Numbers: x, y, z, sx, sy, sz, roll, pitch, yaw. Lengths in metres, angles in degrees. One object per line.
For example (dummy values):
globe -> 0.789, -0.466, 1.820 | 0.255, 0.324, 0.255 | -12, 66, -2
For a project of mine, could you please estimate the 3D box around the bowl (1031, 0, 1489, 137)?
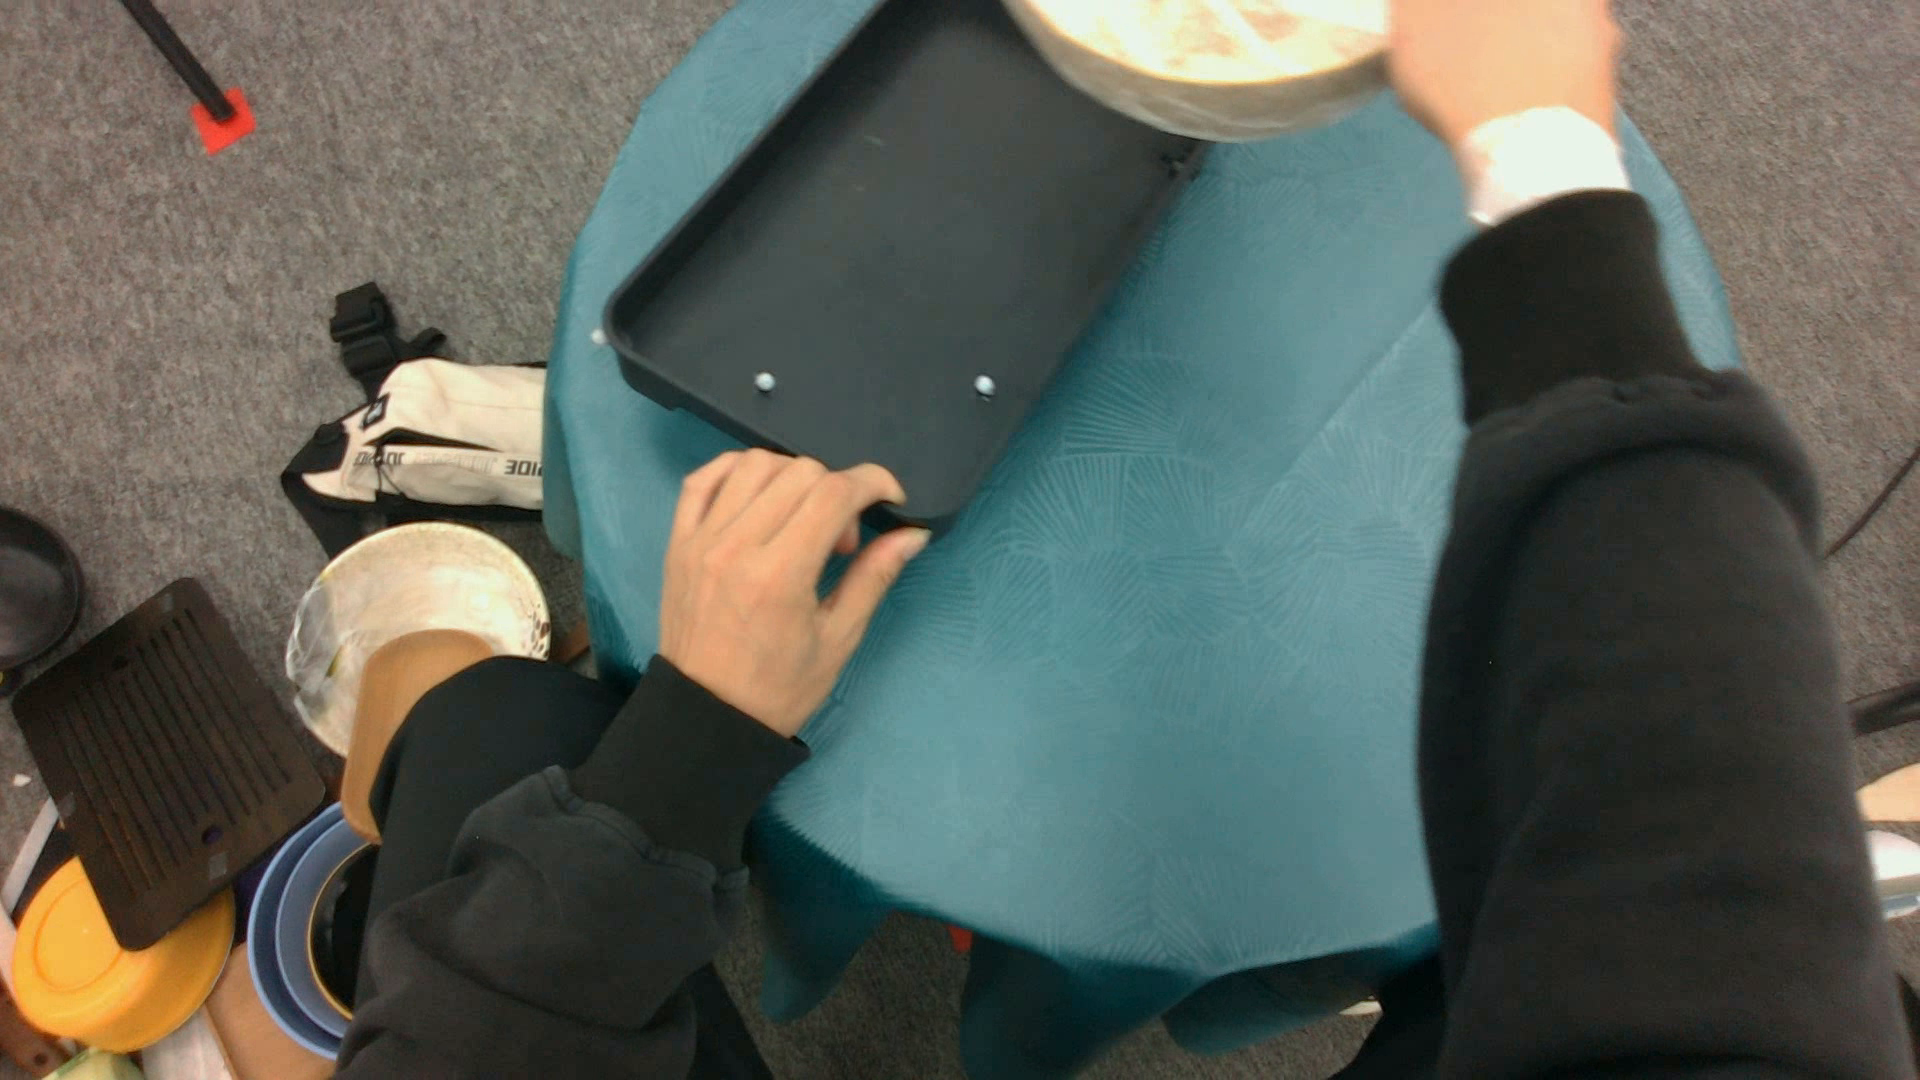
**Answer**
bowl -> 0.119, -0.243, 0.568 | 0.214, 0.094, 0.215 | -2, 70, 7

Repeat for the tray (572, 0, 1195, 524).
tray -> -0.021, -0.166, 0.668 | 0.184, 0.037, 0.319 | 30, 63, 9
